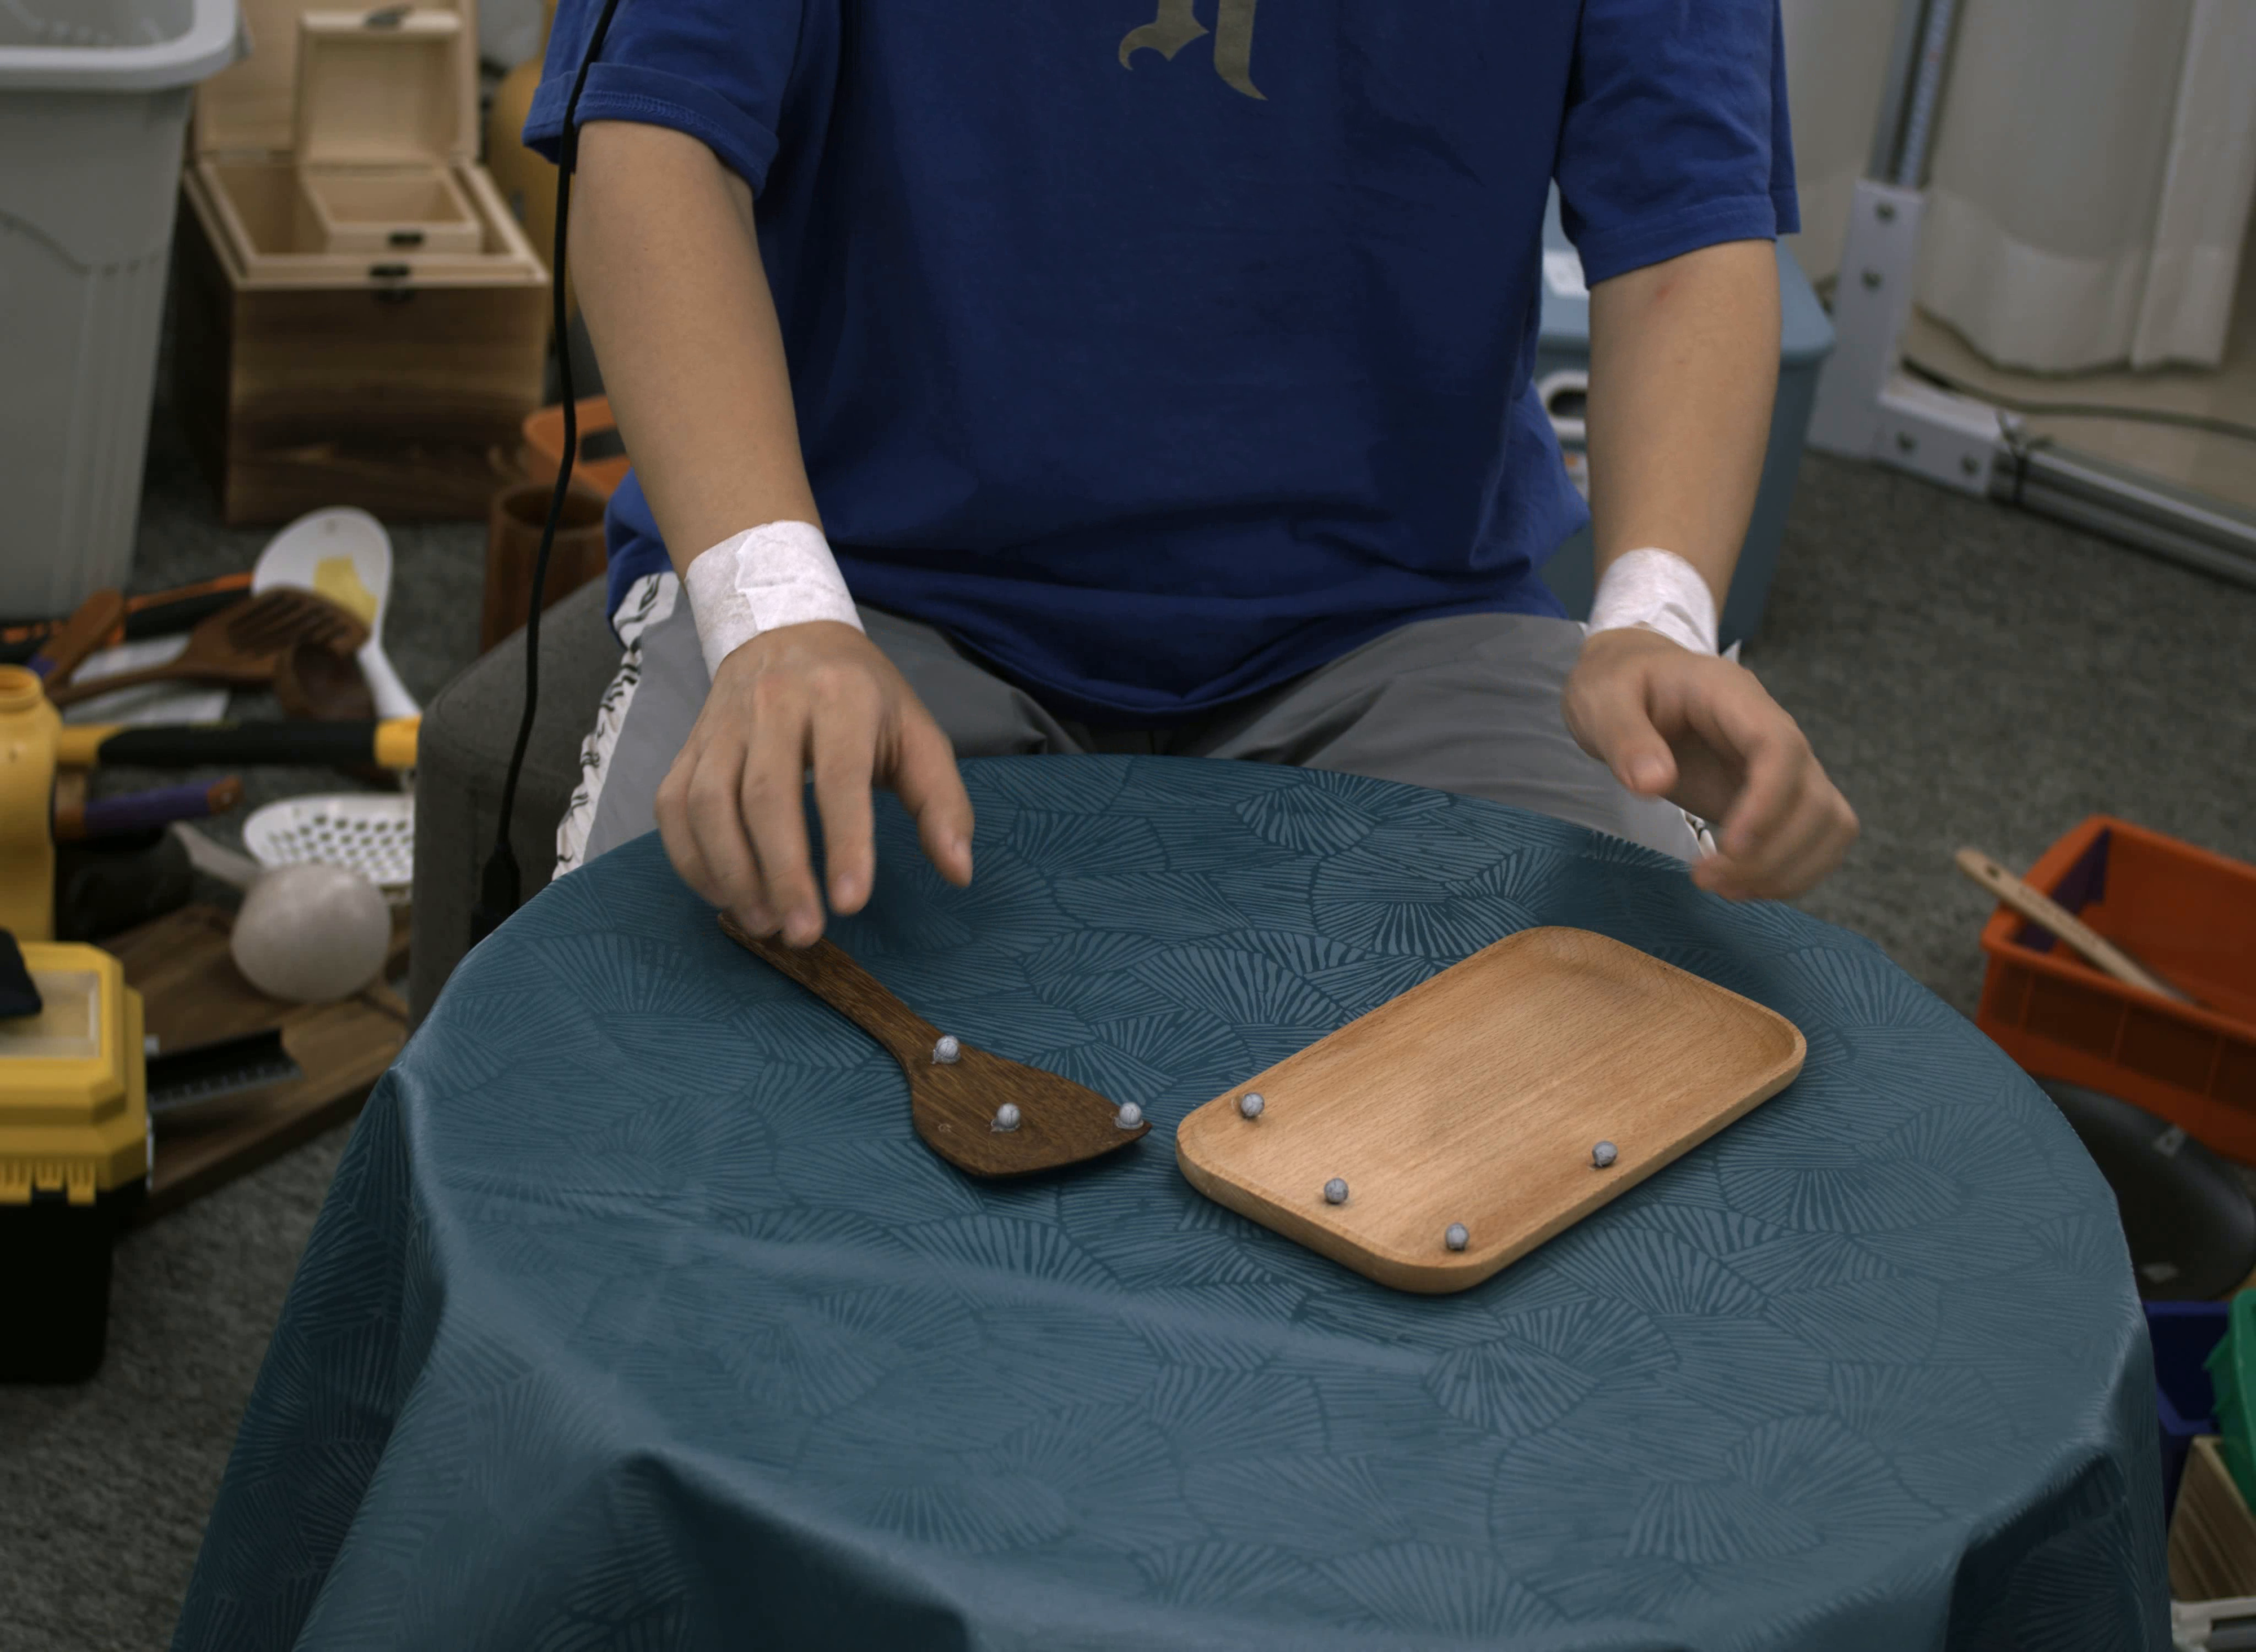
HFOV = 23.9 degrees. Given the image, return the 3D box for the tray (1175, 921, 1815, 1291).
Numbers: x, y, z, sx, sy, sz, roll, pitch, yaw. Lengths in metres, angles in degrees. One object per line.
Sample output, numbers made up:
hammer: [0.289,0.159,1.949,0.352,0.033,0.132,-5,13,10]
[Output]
tray: [0.131,0.096,1.869,0.131,0.023,0.249,27,33,31]

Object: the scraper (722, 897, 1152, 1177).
scraper: [-0.078,0.072,1.877,0.075,0.011,0.213,-13,32,-35]
